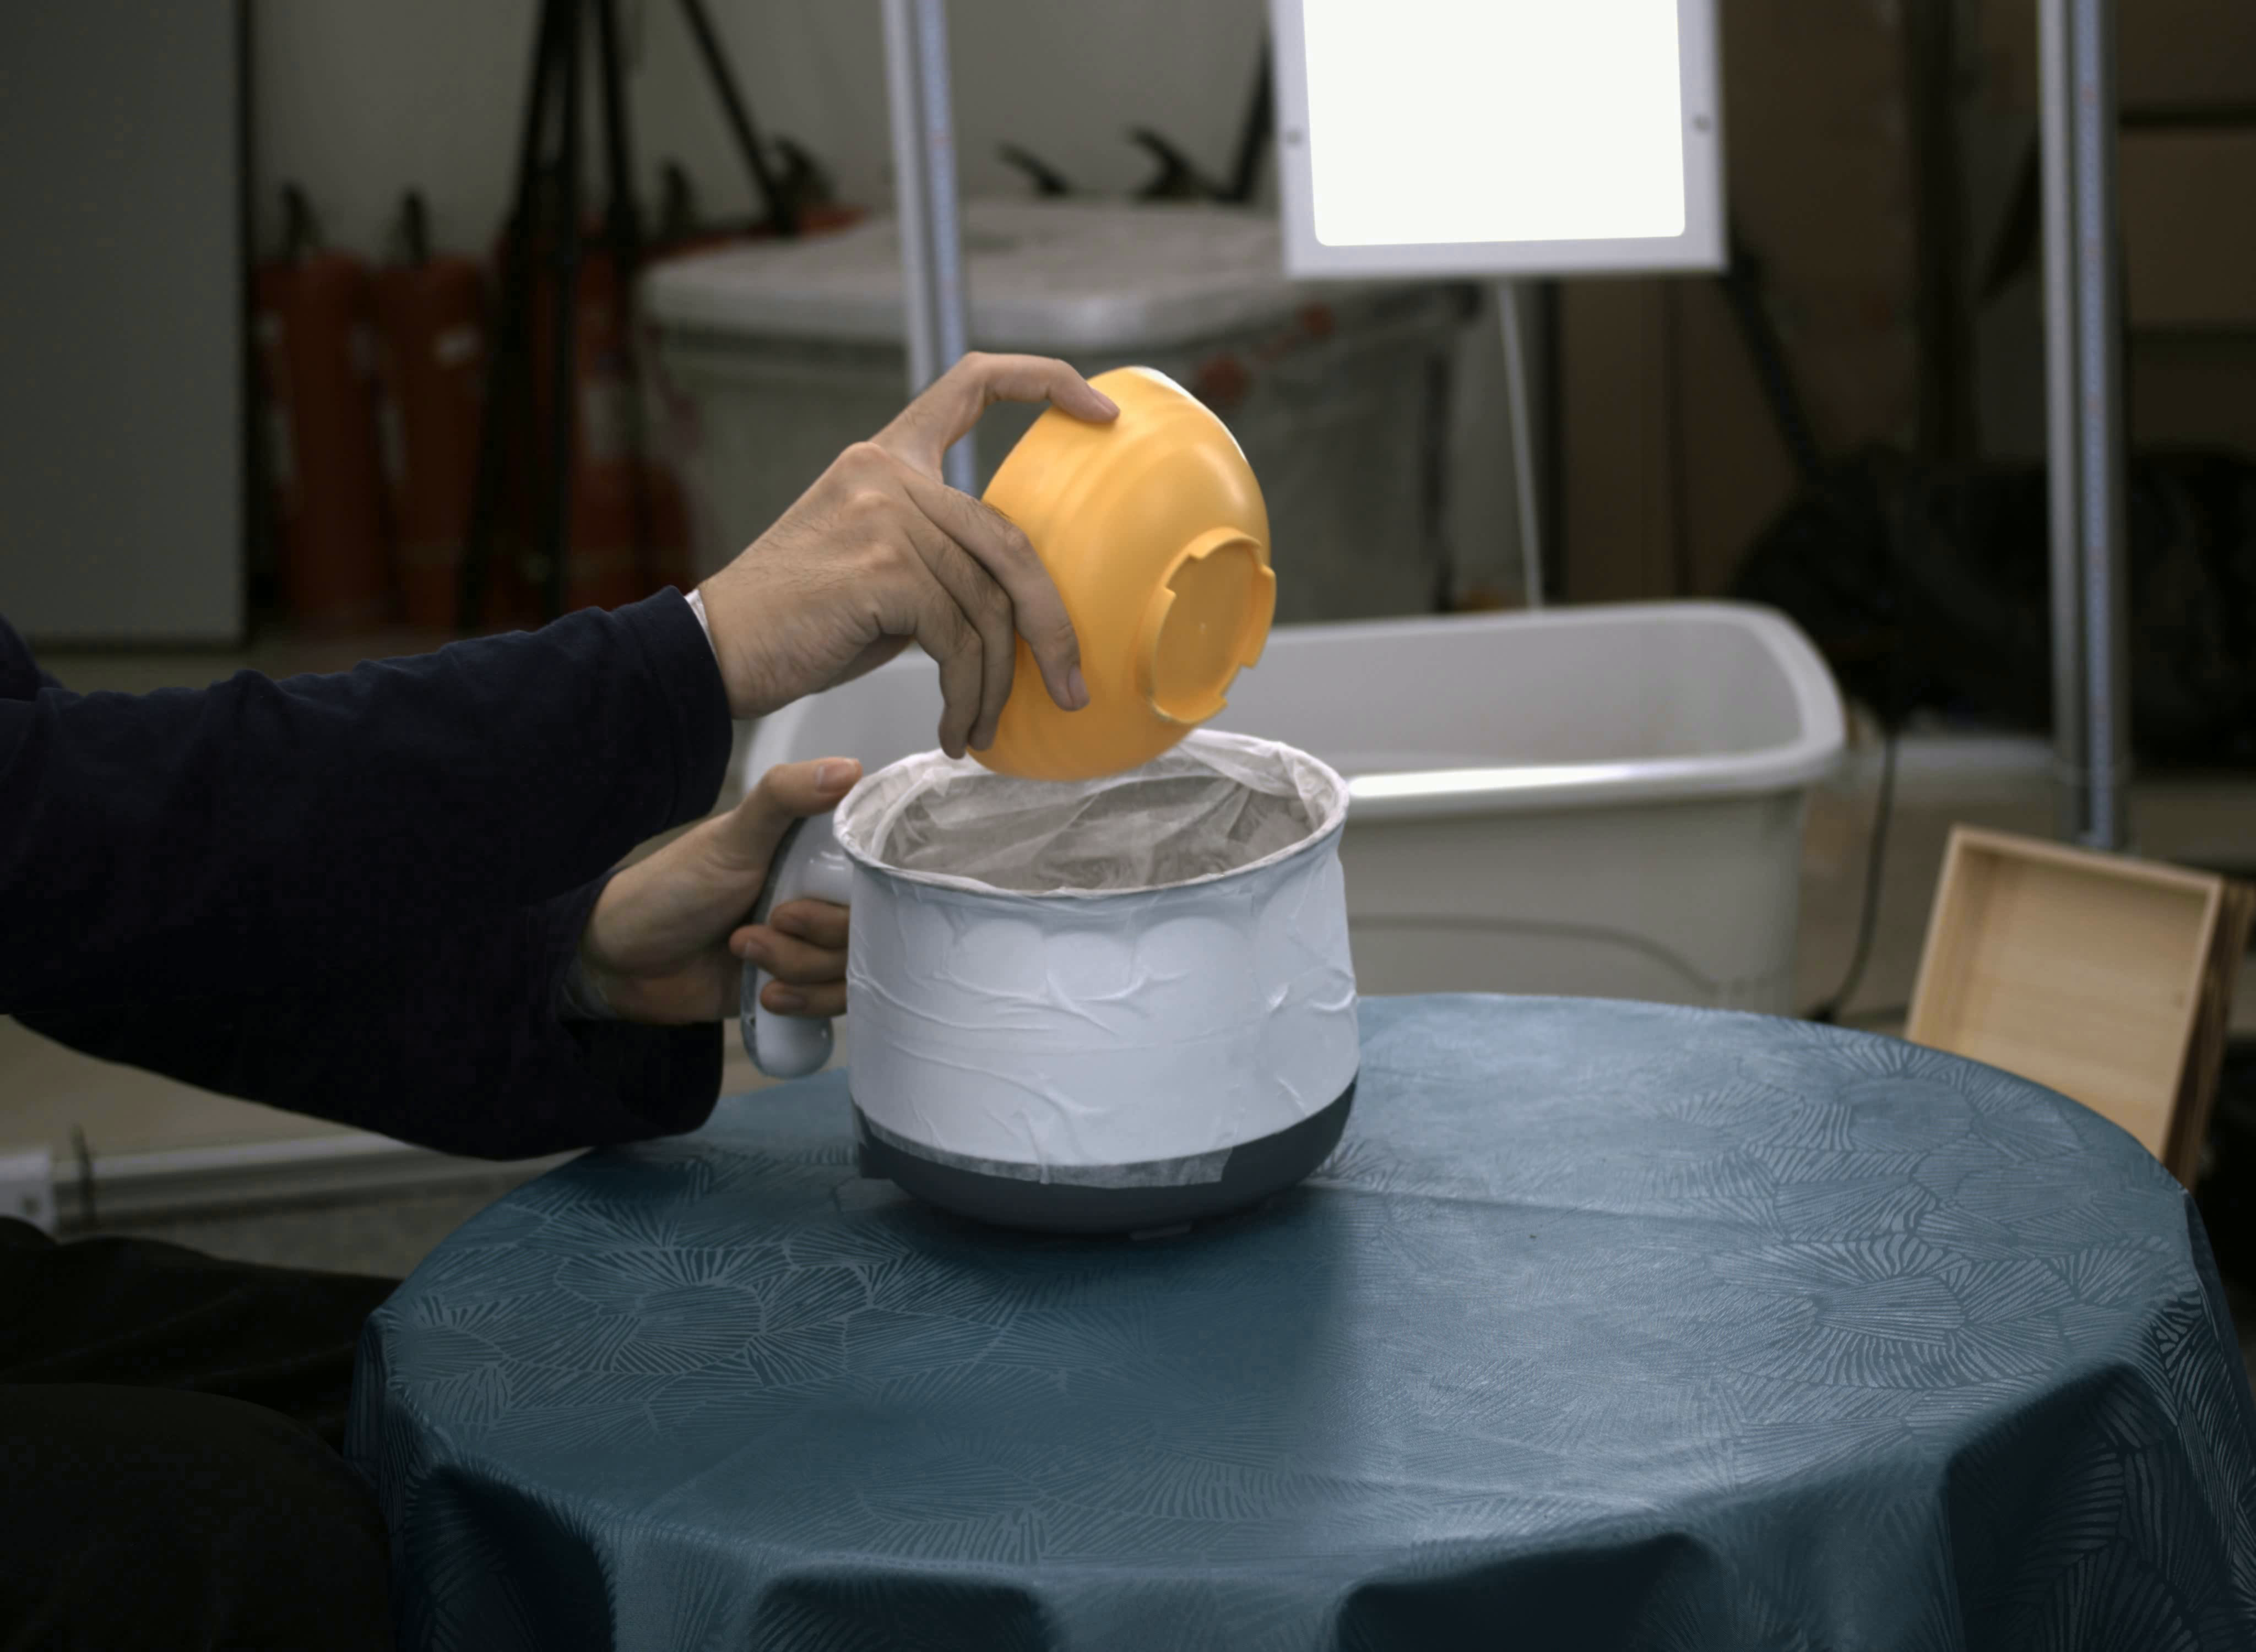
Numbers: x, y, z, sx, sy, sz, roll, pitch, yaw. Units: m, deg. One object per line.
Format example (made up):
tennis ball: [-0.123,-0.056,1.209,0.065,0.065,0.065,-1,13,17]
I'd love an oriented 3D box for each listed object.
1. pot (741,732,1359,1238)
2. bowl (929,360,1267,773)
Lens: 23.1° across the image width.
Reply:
pot: [-0.033,0.050,1.905,0.238,0.137,0.175,8,20,29]
bowl: [0.004,-0.076,1.809,0.061,0.146,0.141,26,29,33]
